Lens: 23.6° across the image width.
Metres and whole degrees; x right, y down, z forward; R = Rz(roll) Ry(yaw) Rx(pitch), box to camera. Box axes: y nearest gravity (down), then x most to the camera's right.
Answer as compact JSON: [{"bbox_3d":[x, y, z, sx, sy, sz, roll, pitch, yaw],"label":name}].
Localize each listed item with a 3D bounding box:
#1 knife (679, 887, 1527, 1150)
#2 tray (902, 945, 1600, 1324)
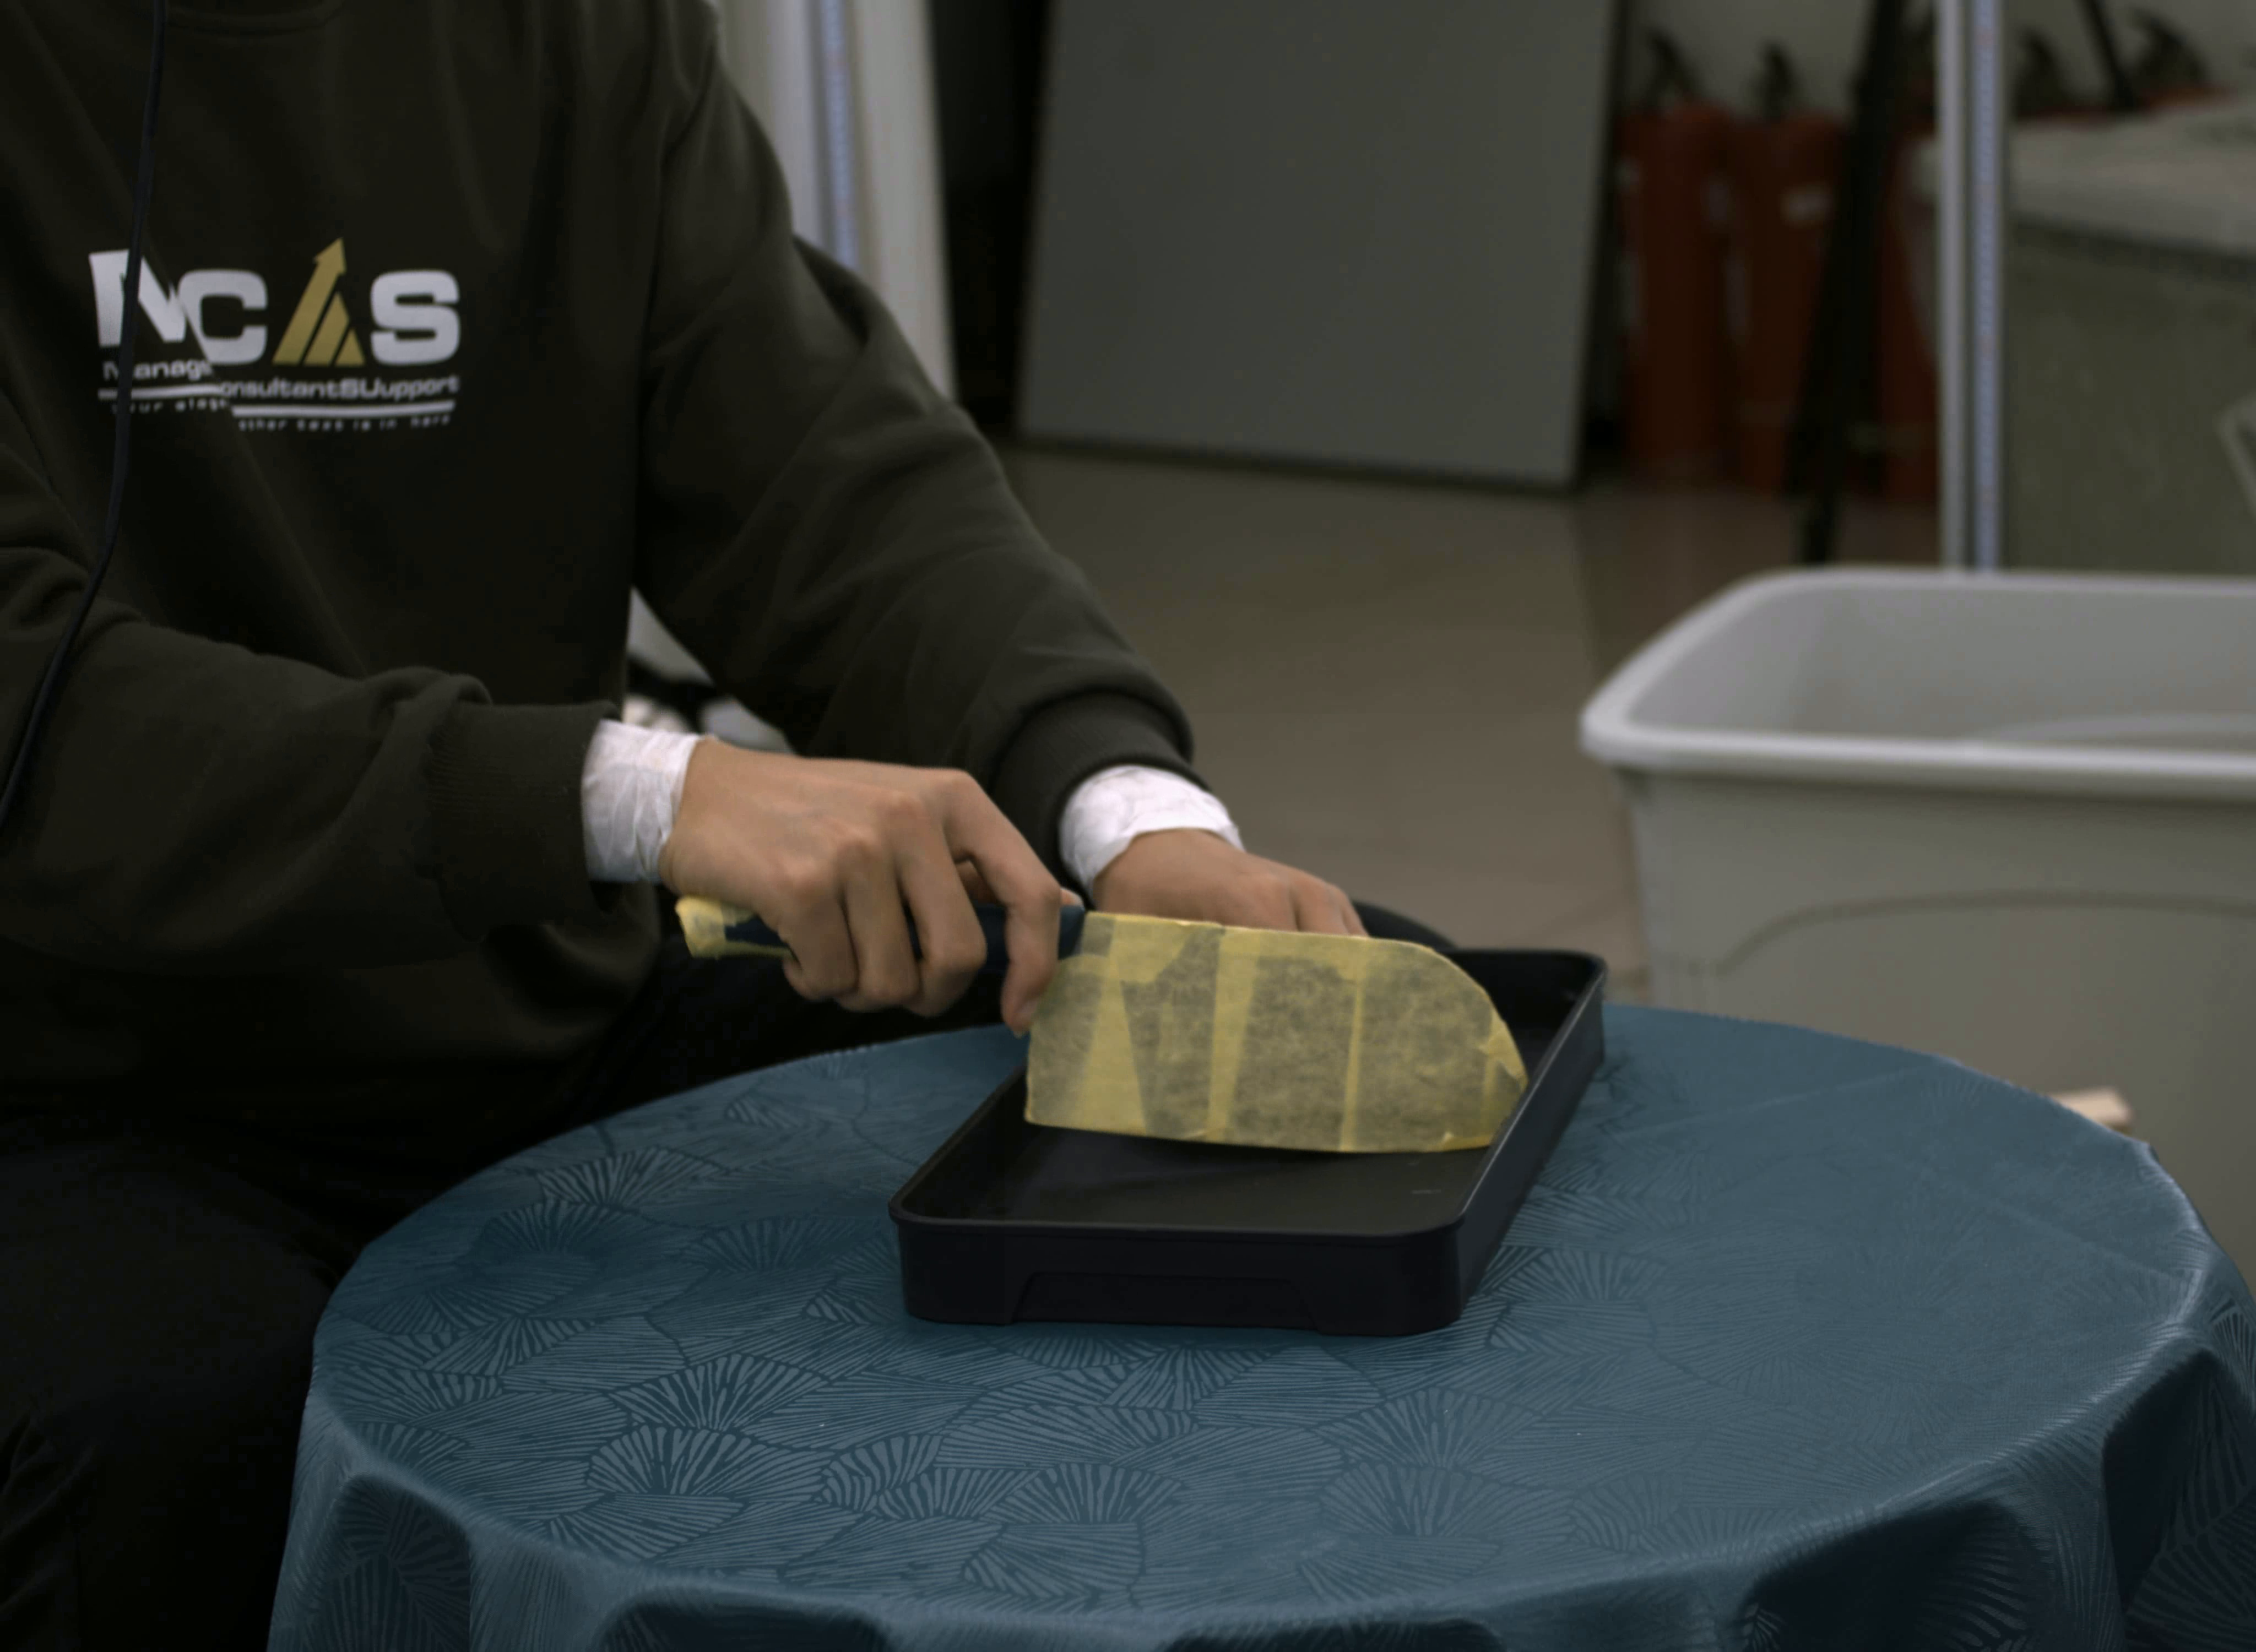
[{"bbox_3d":[-0.008,0.062,1.777,0.286,0.082,0.027,8,-3,0],"label":"knife"},{"bbox_3d":[0.049,0.097,1.781,0.183,0.037,0.316,-1,14,14],"label":"tray"}]
